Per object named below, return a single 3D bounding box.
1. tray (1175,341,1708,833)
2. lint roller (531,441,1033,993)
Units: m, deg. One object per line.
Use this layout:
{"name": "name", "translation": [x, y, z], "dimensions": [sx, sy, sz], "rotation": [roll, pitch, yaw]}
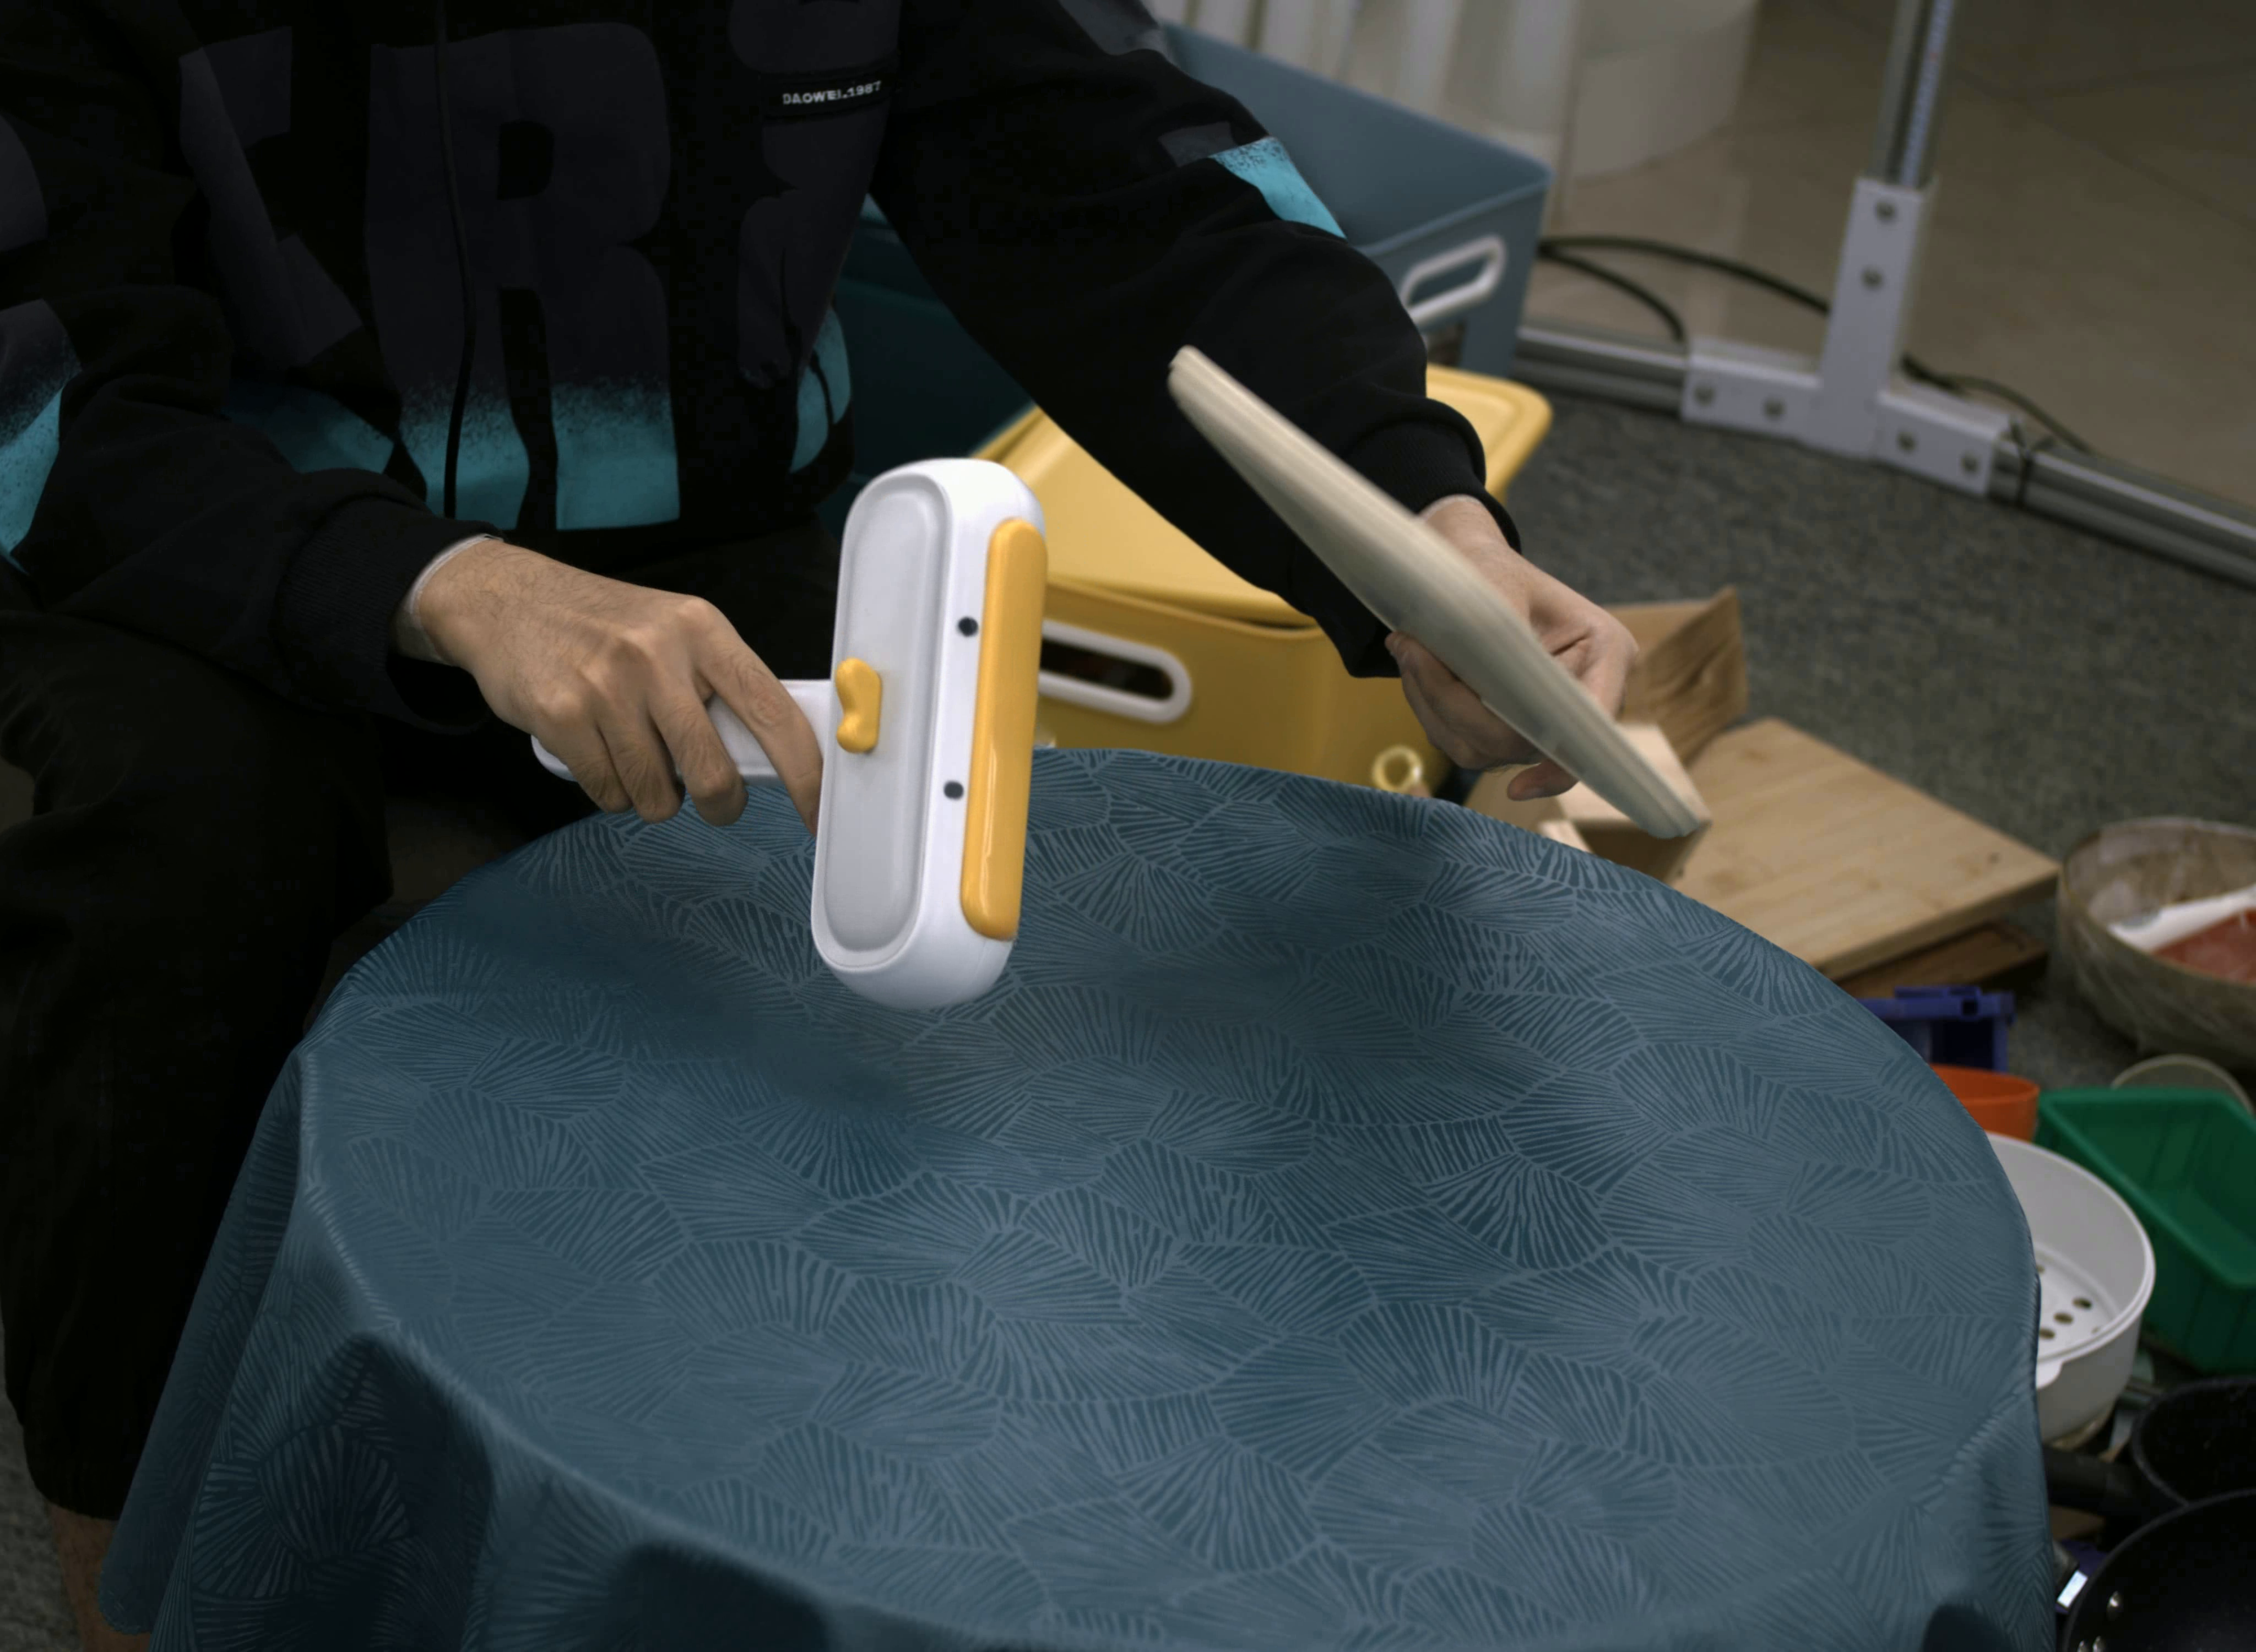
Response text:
{"name": "tray", "translation": [0.106, -0.084, 1.891], "dimensions": [0.017, 0.170, 0.242], "rotation": [-45, 34, -2]}
{"name": "lint roller", "translation": [-0.120, -0.034, 1.870], "dimensions": [0.193, 0.194, 0.073], "rotation": [-7, -11, 34]}
